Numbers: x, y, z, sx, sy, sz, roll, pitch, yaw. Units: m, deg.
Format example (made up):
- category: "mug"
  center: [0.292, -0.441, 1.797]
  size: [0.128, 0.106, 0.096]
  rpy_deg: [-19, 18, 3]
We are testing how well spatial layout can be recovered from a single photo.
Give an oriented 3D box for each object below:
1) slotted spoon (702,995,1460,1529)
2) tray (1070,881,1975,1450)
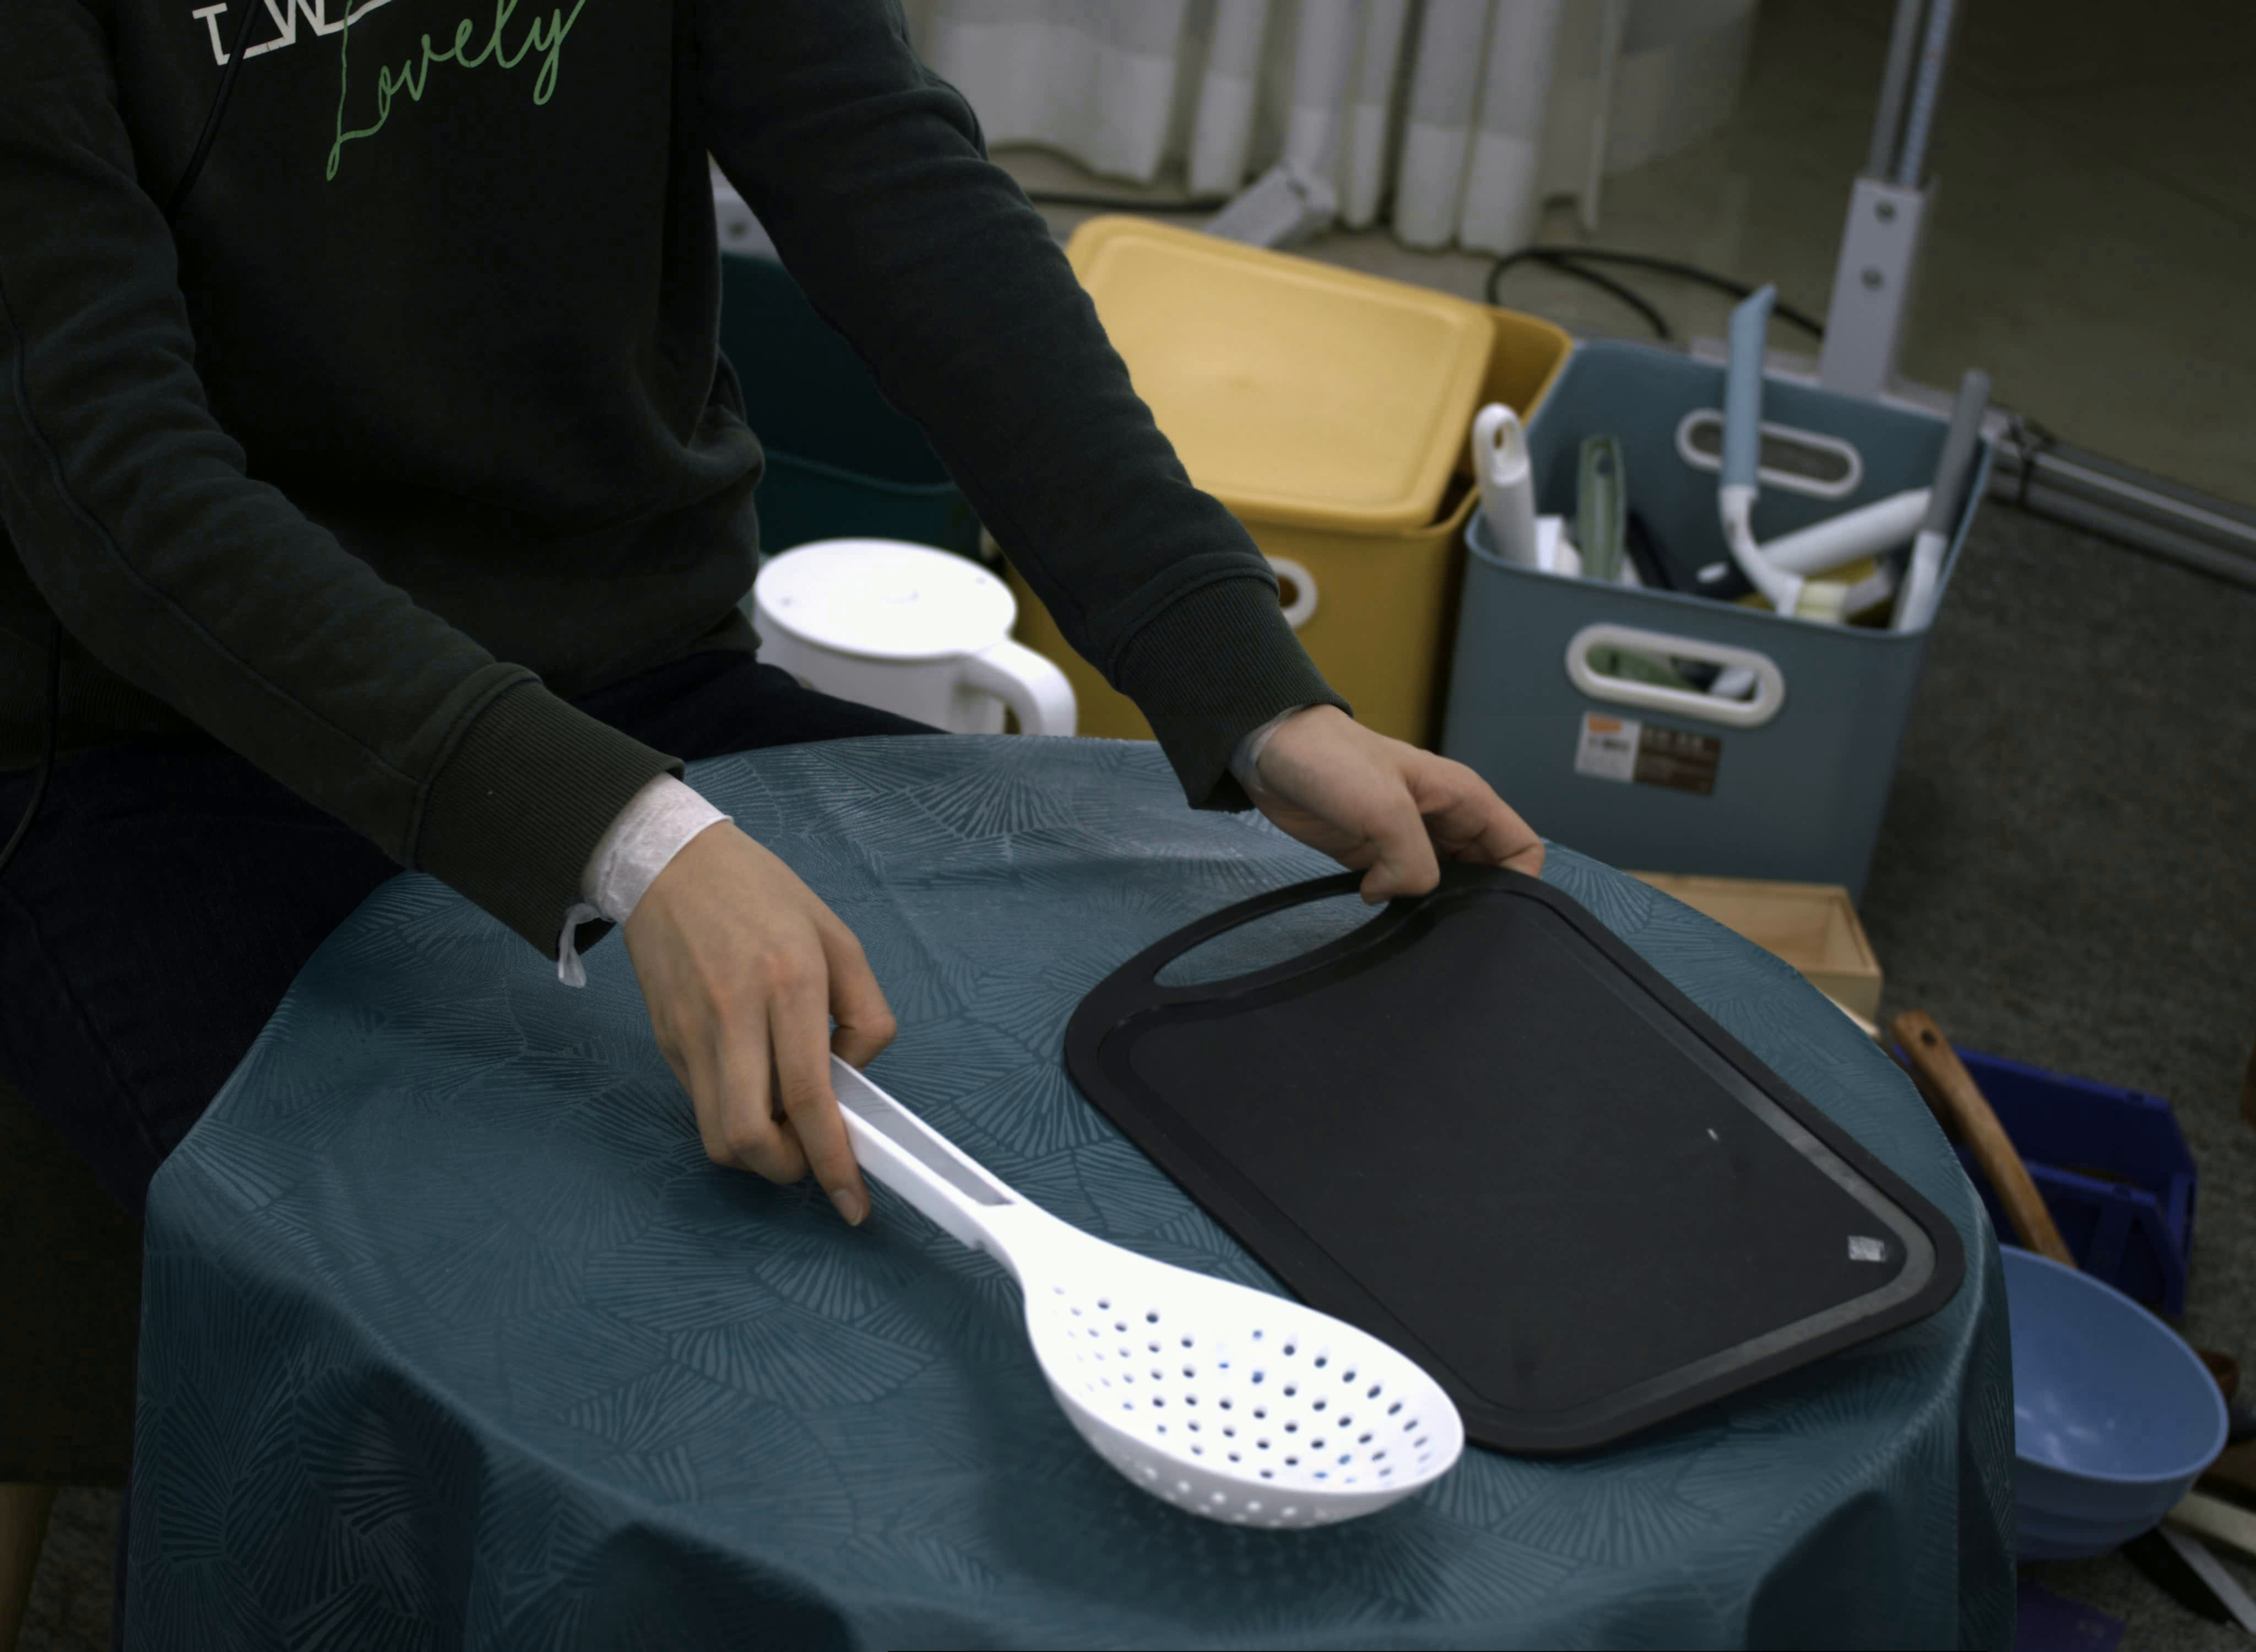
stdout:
- category: "slotted spoon"
  center: [-0.032, 0.134, 1.703]
  size: [0.135, 0.045, 0.353]
  rpy_deg: [-3, 30, -40]
- category: "tray"
  center: [0.125, 0.105, 1.823]
  size: [0.210, 0.010, 0.328]
  rpy_deg: [-18, 35, -25]
